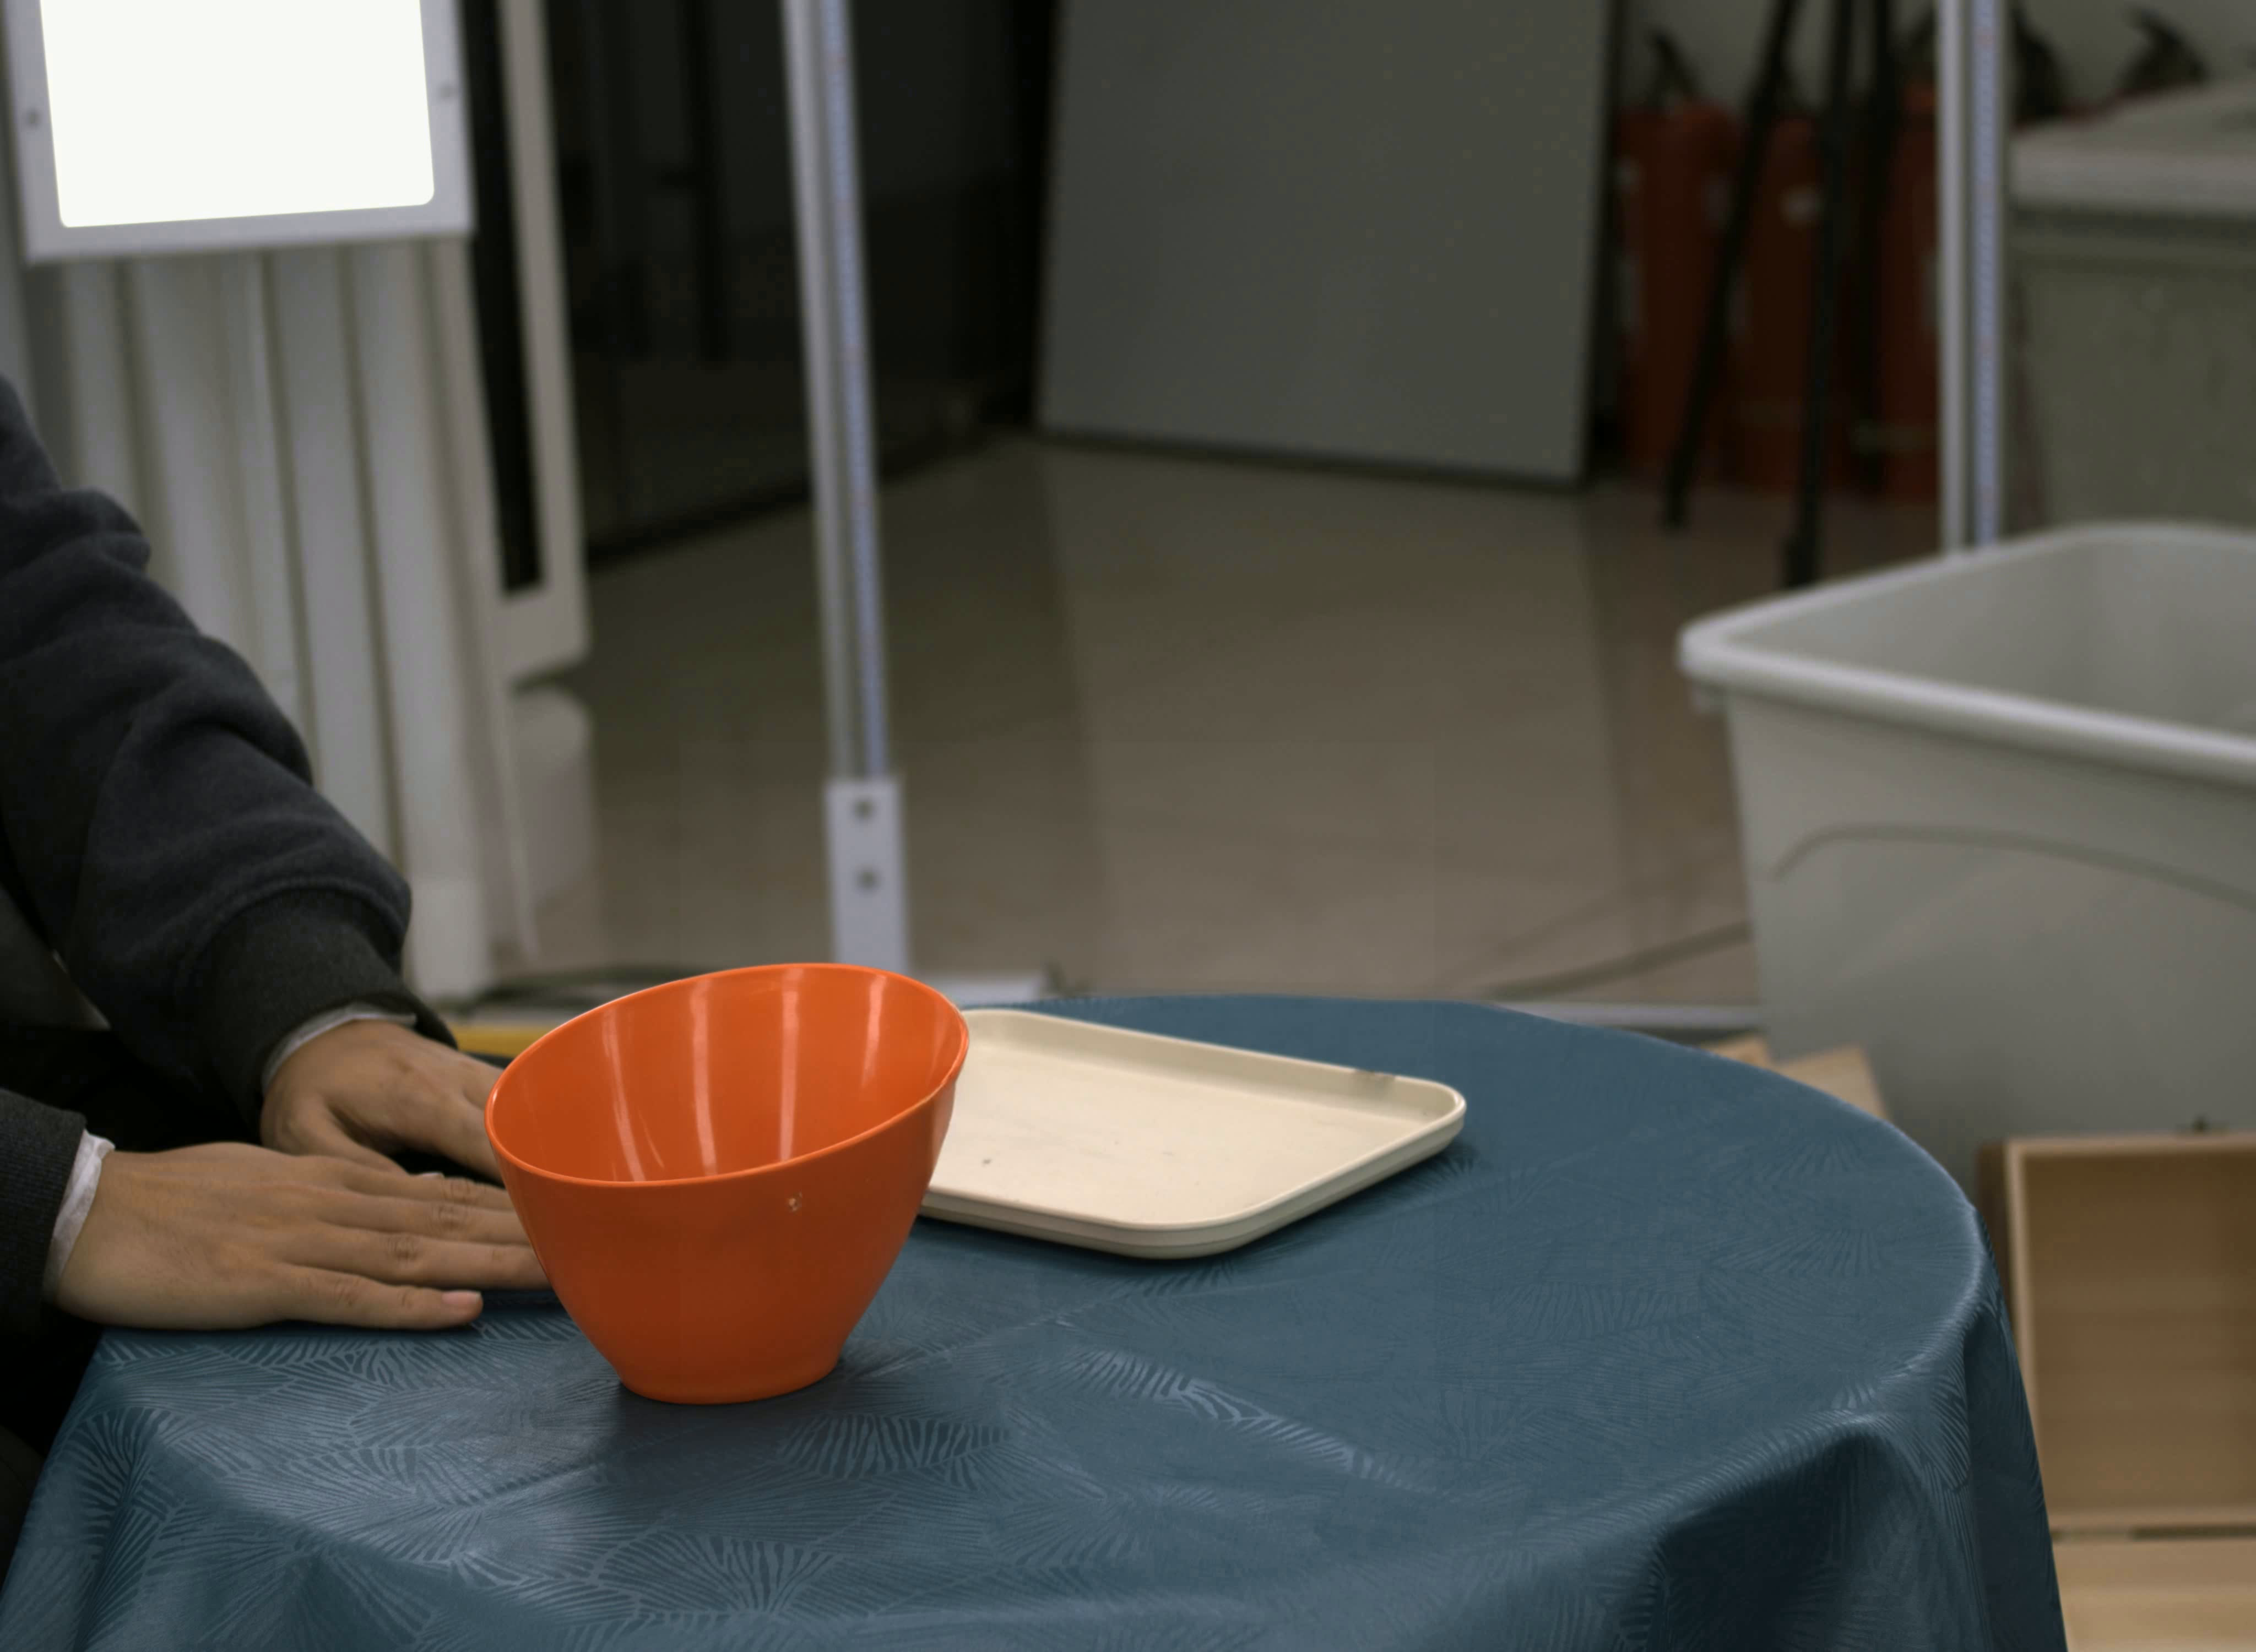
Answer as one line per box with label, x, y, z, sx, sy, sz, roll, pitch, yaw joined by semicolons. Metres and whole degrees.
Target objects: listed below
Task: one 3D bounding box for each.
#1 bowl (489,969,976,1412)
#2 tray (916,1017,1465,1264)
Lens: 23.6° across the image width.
bowl;-0.117;0.113;1.623;0.146;0.106;0.148;-2;13;0
tray;-0.018;0.104;1.807;0.241;0.017;0.168;7;18;39
